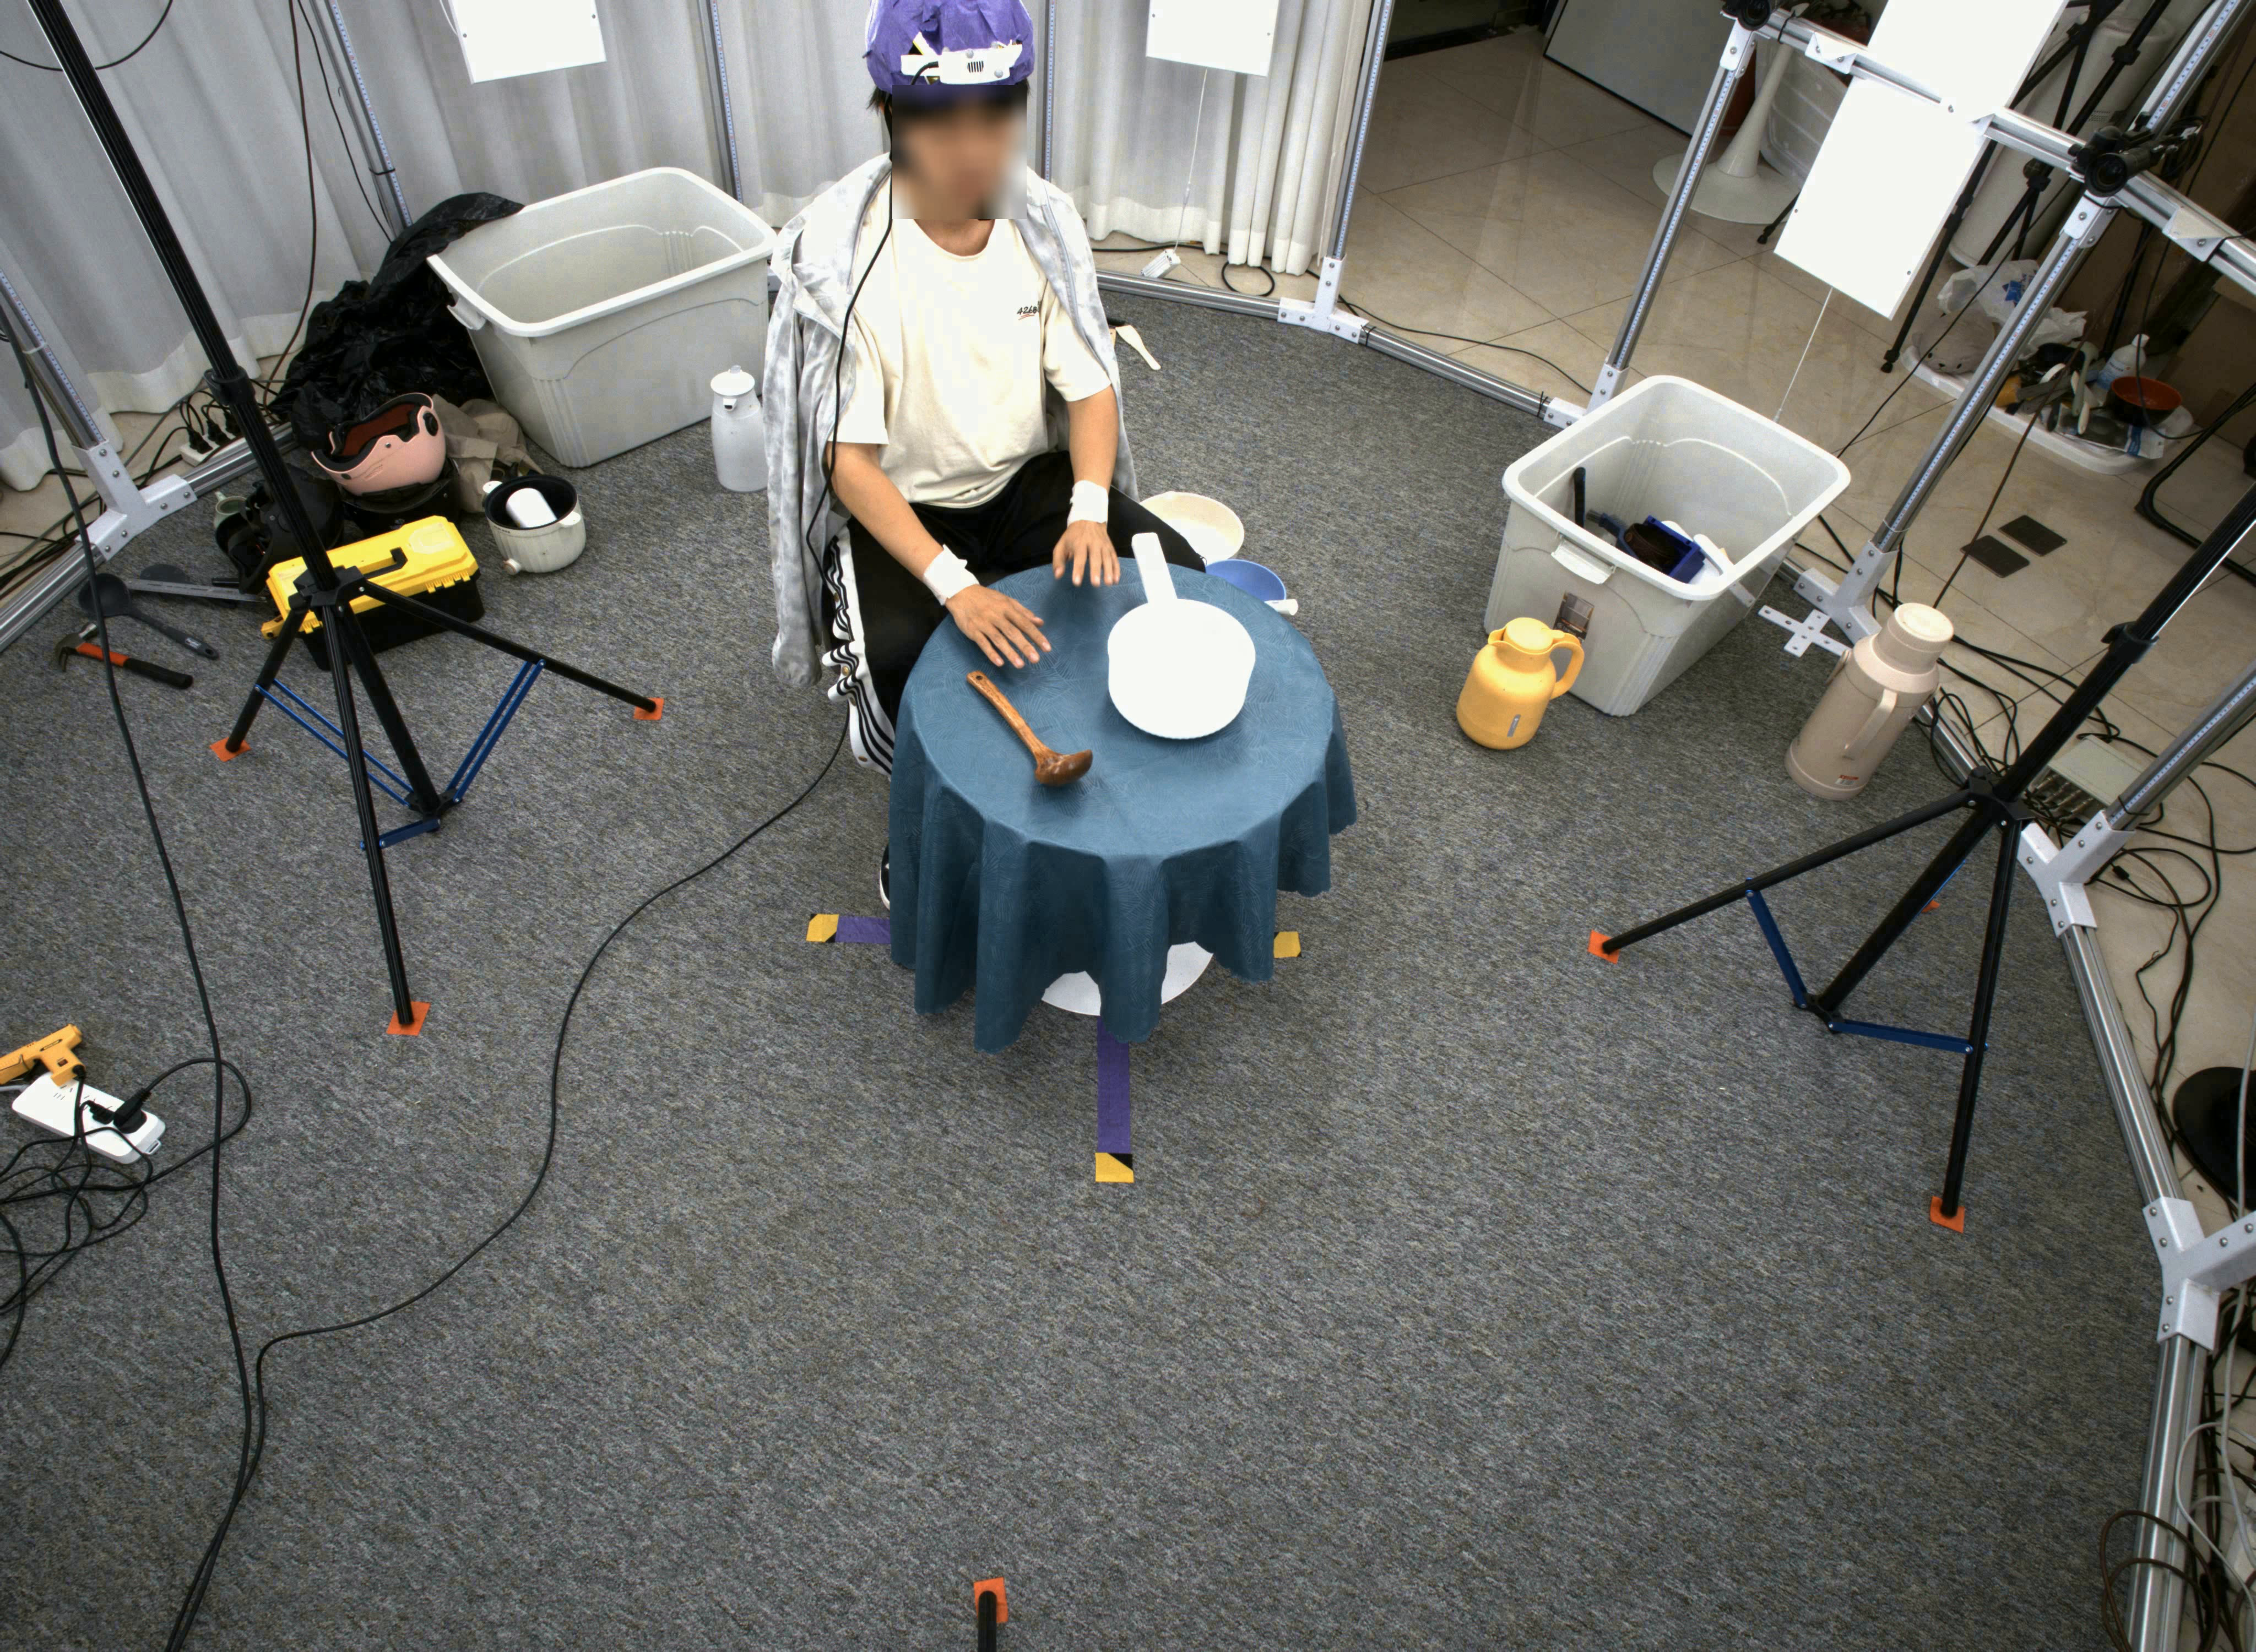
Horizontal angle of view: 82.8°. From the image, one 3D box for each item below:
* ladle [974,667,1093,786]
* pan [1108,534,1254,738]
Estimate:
[{"bbox_3d":[-0.140,-0.150,1.730,0.082,0.075,0.280,-16,52,-28],"label":"ladle"},{"bbox_3d":[0.057,-0.272,1.839,0.201,0.099,0.364,-6,49,-8],"label":"pan"}]
